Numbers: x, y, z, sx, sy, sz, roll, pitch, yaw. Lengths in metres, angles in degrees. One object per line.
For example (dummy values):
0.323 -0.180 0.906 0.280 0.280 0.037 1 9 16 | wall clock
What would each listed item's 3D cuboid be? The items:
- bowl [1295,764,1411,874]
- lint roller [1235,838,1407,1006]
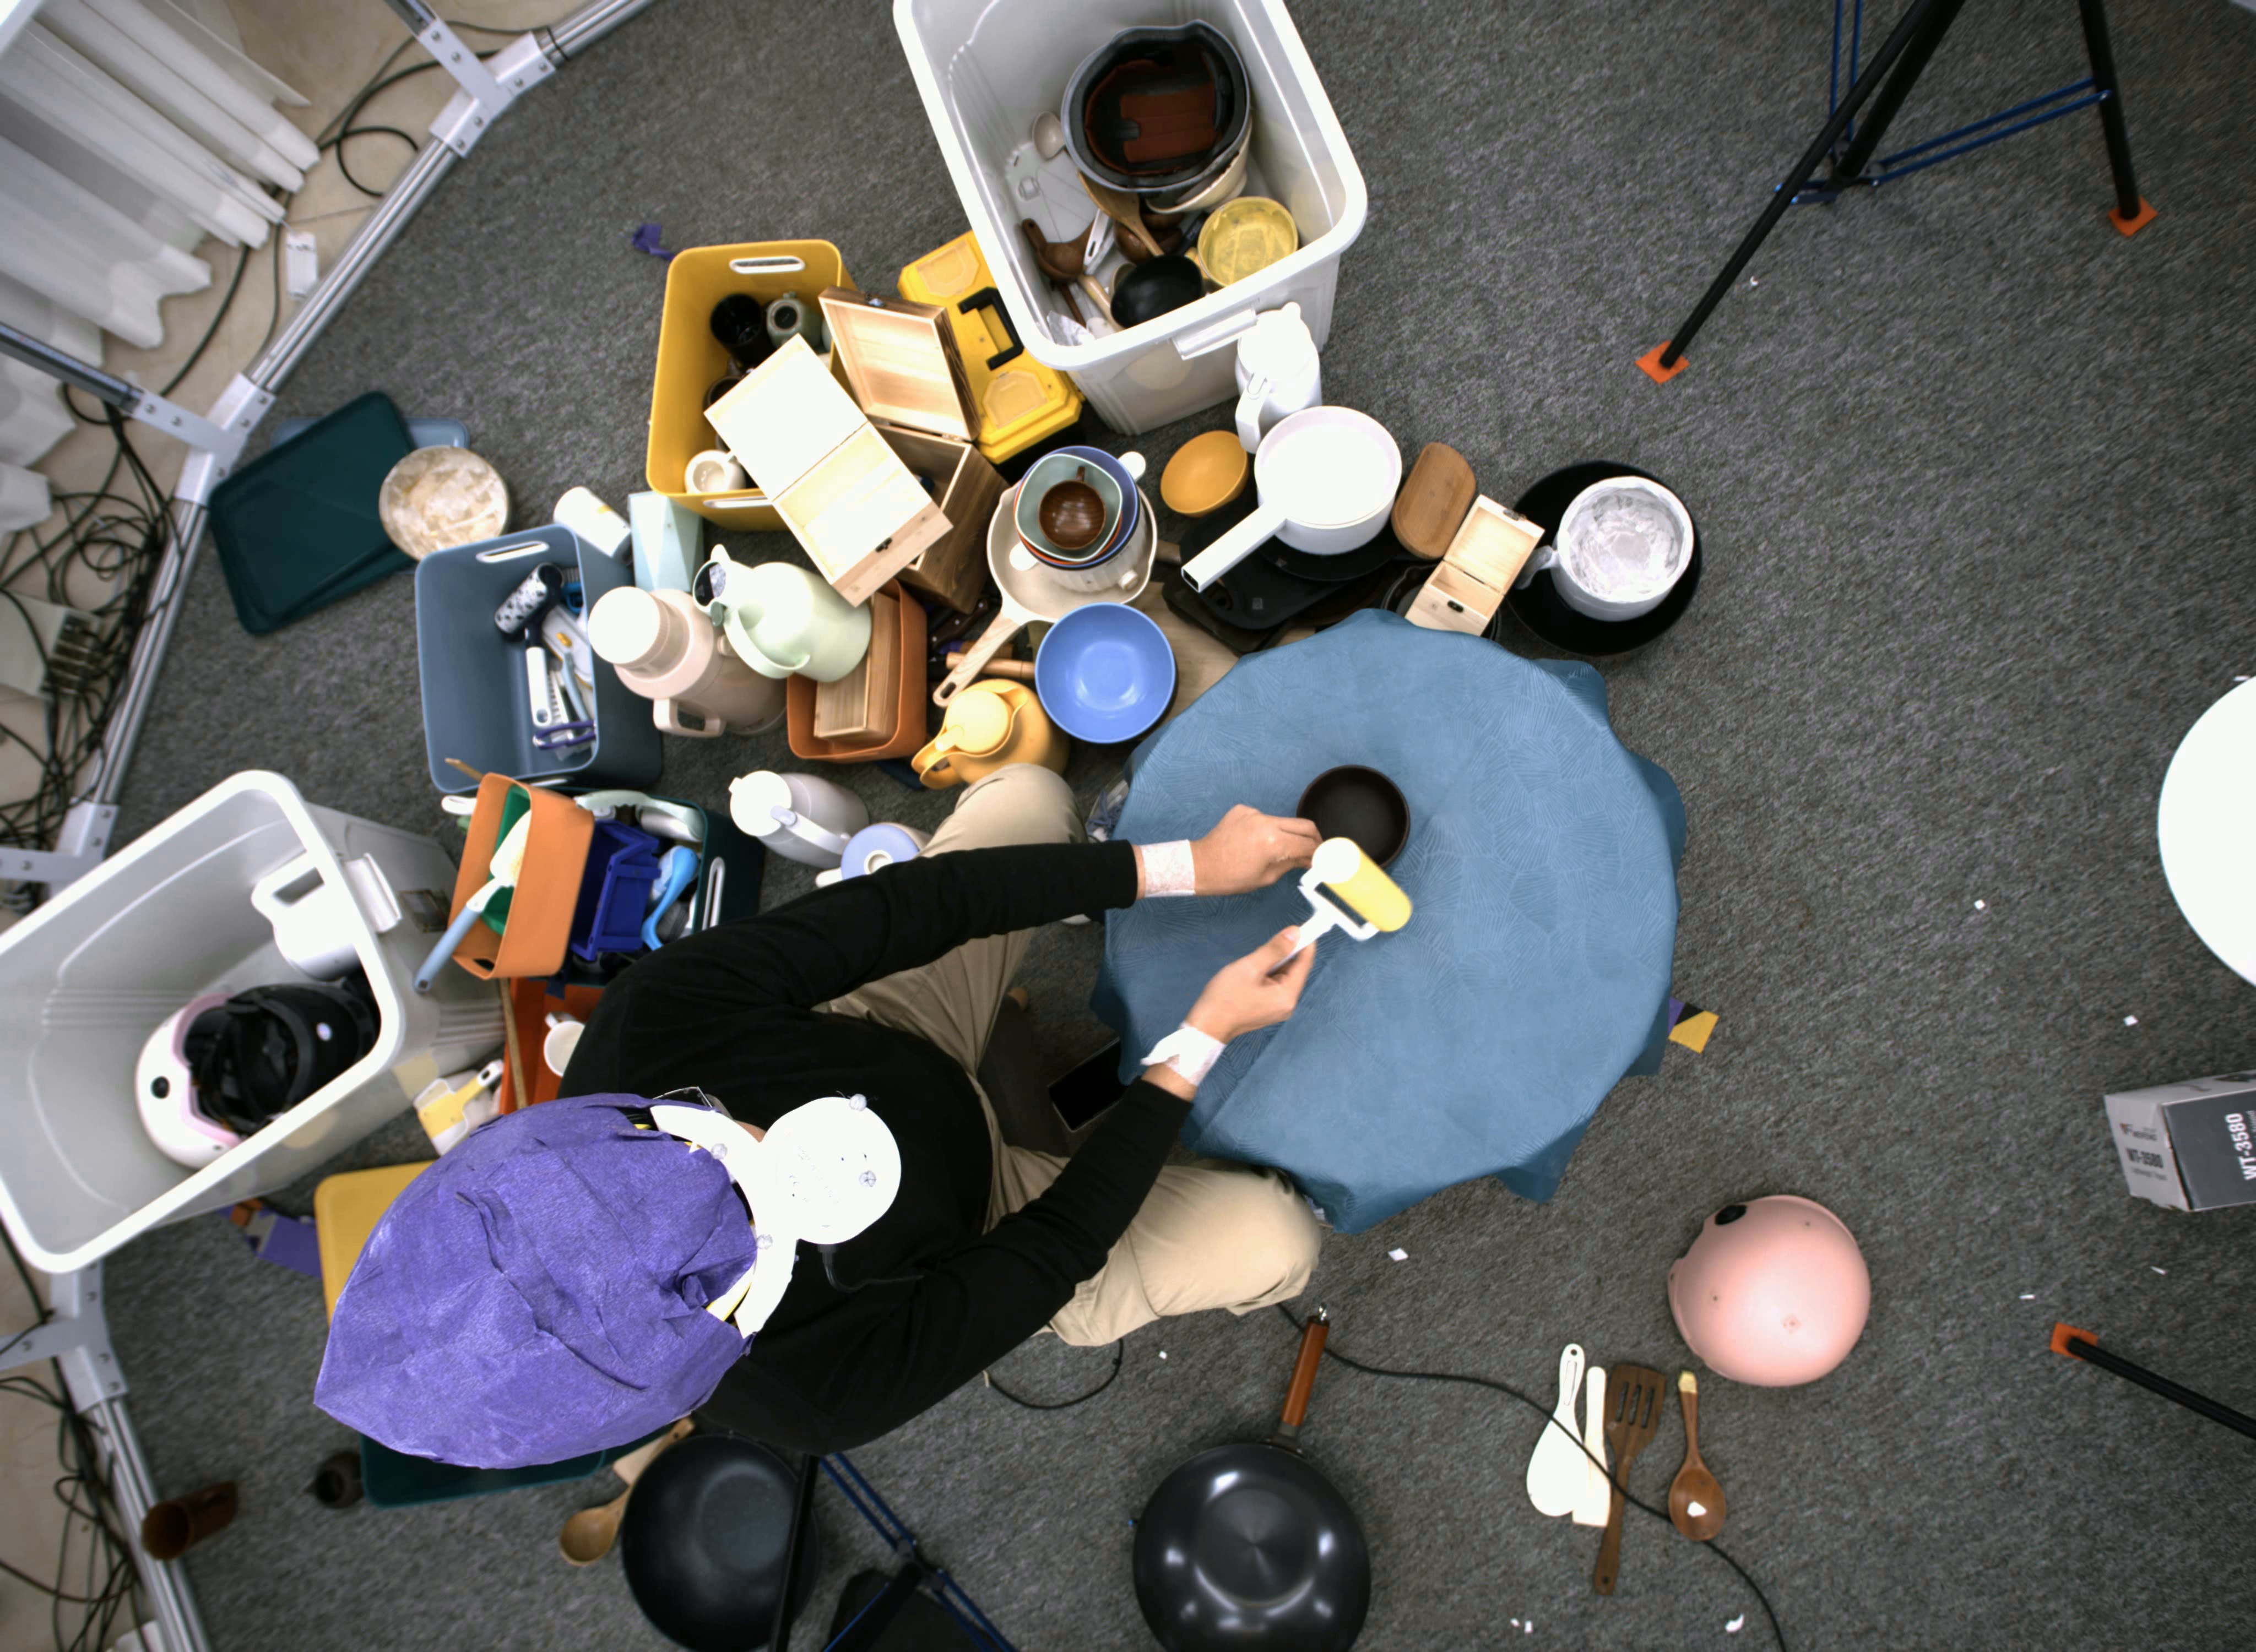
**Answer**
0.234 -0.003 1.433 0.118 0.070 0.117 -1 84 10 | bowl
0.183 0.114 1.381 0.193 0.175 0.051 -51 55 6 | lint roller
